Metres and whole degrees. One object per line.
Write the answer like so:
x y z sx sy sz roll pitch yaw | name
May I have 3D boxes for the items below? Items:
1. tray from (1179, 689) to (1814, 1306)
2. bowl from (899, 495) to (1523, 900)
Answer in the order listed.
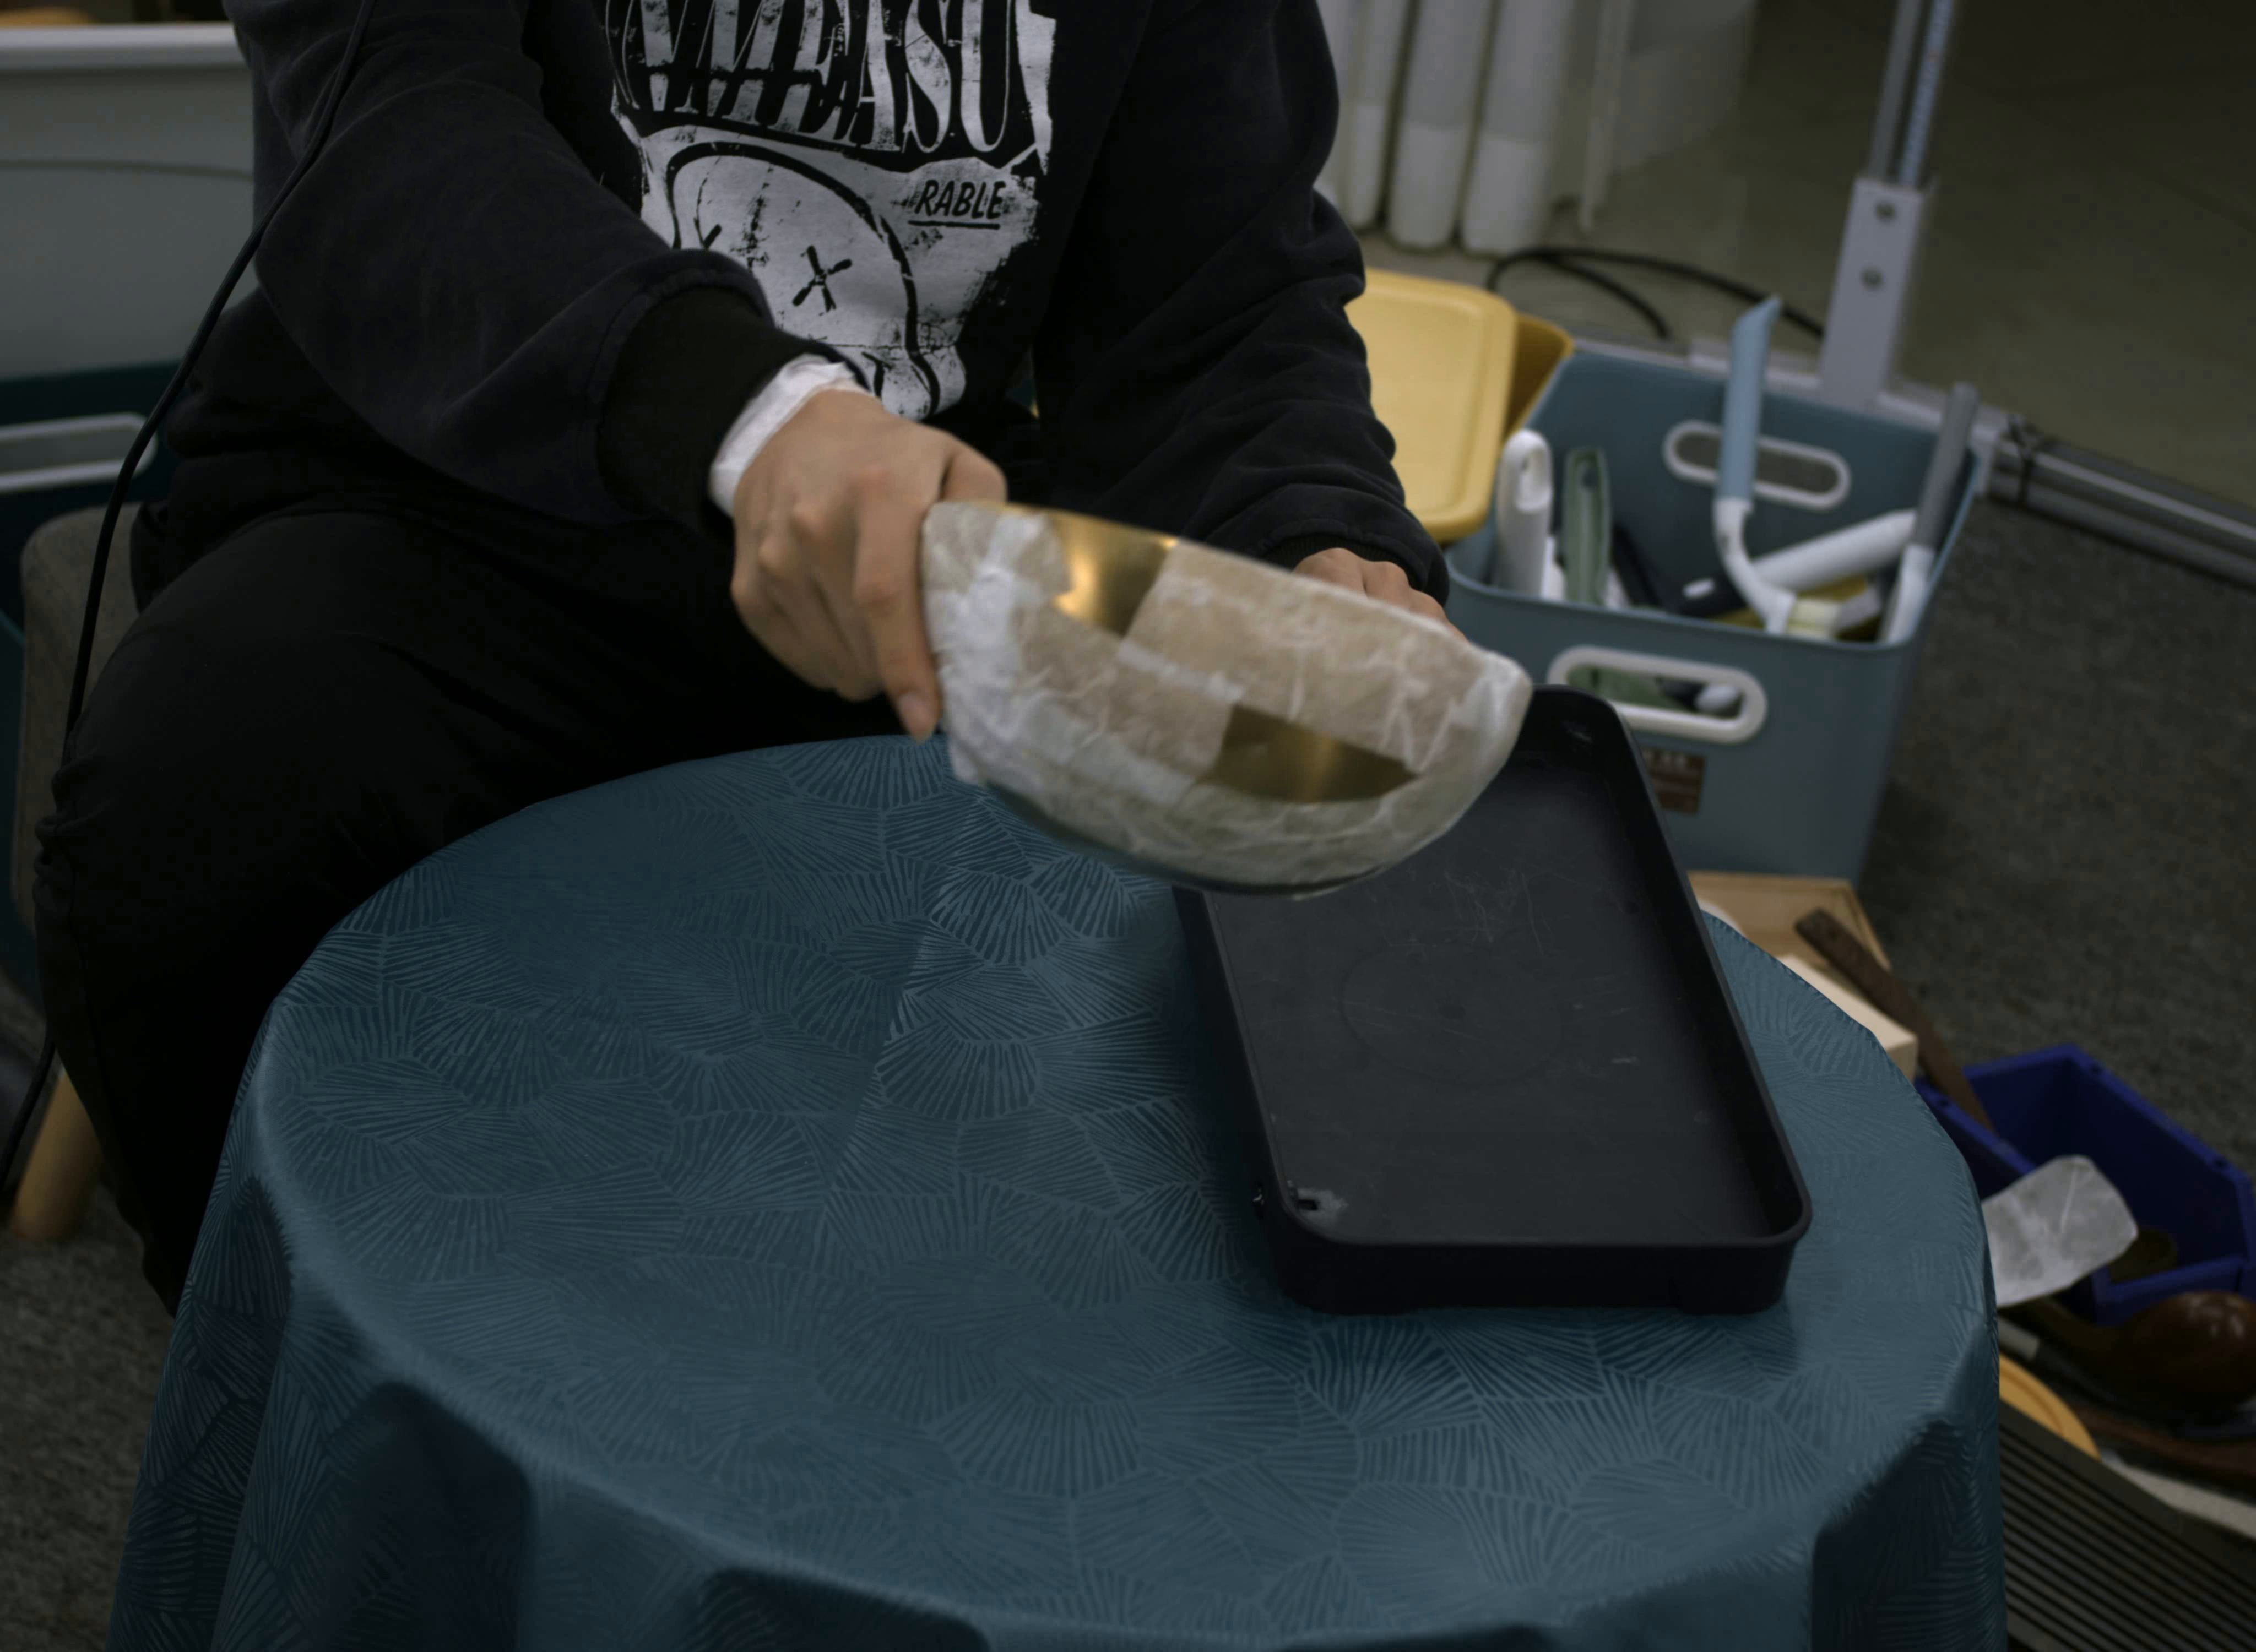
0.117 0.054 1.867 0.183 0.037 0.320 0 35 -9 | tray
0.016 -0.029 1.682 0.214 0.095 0.214 15 -4 1 | bowl
